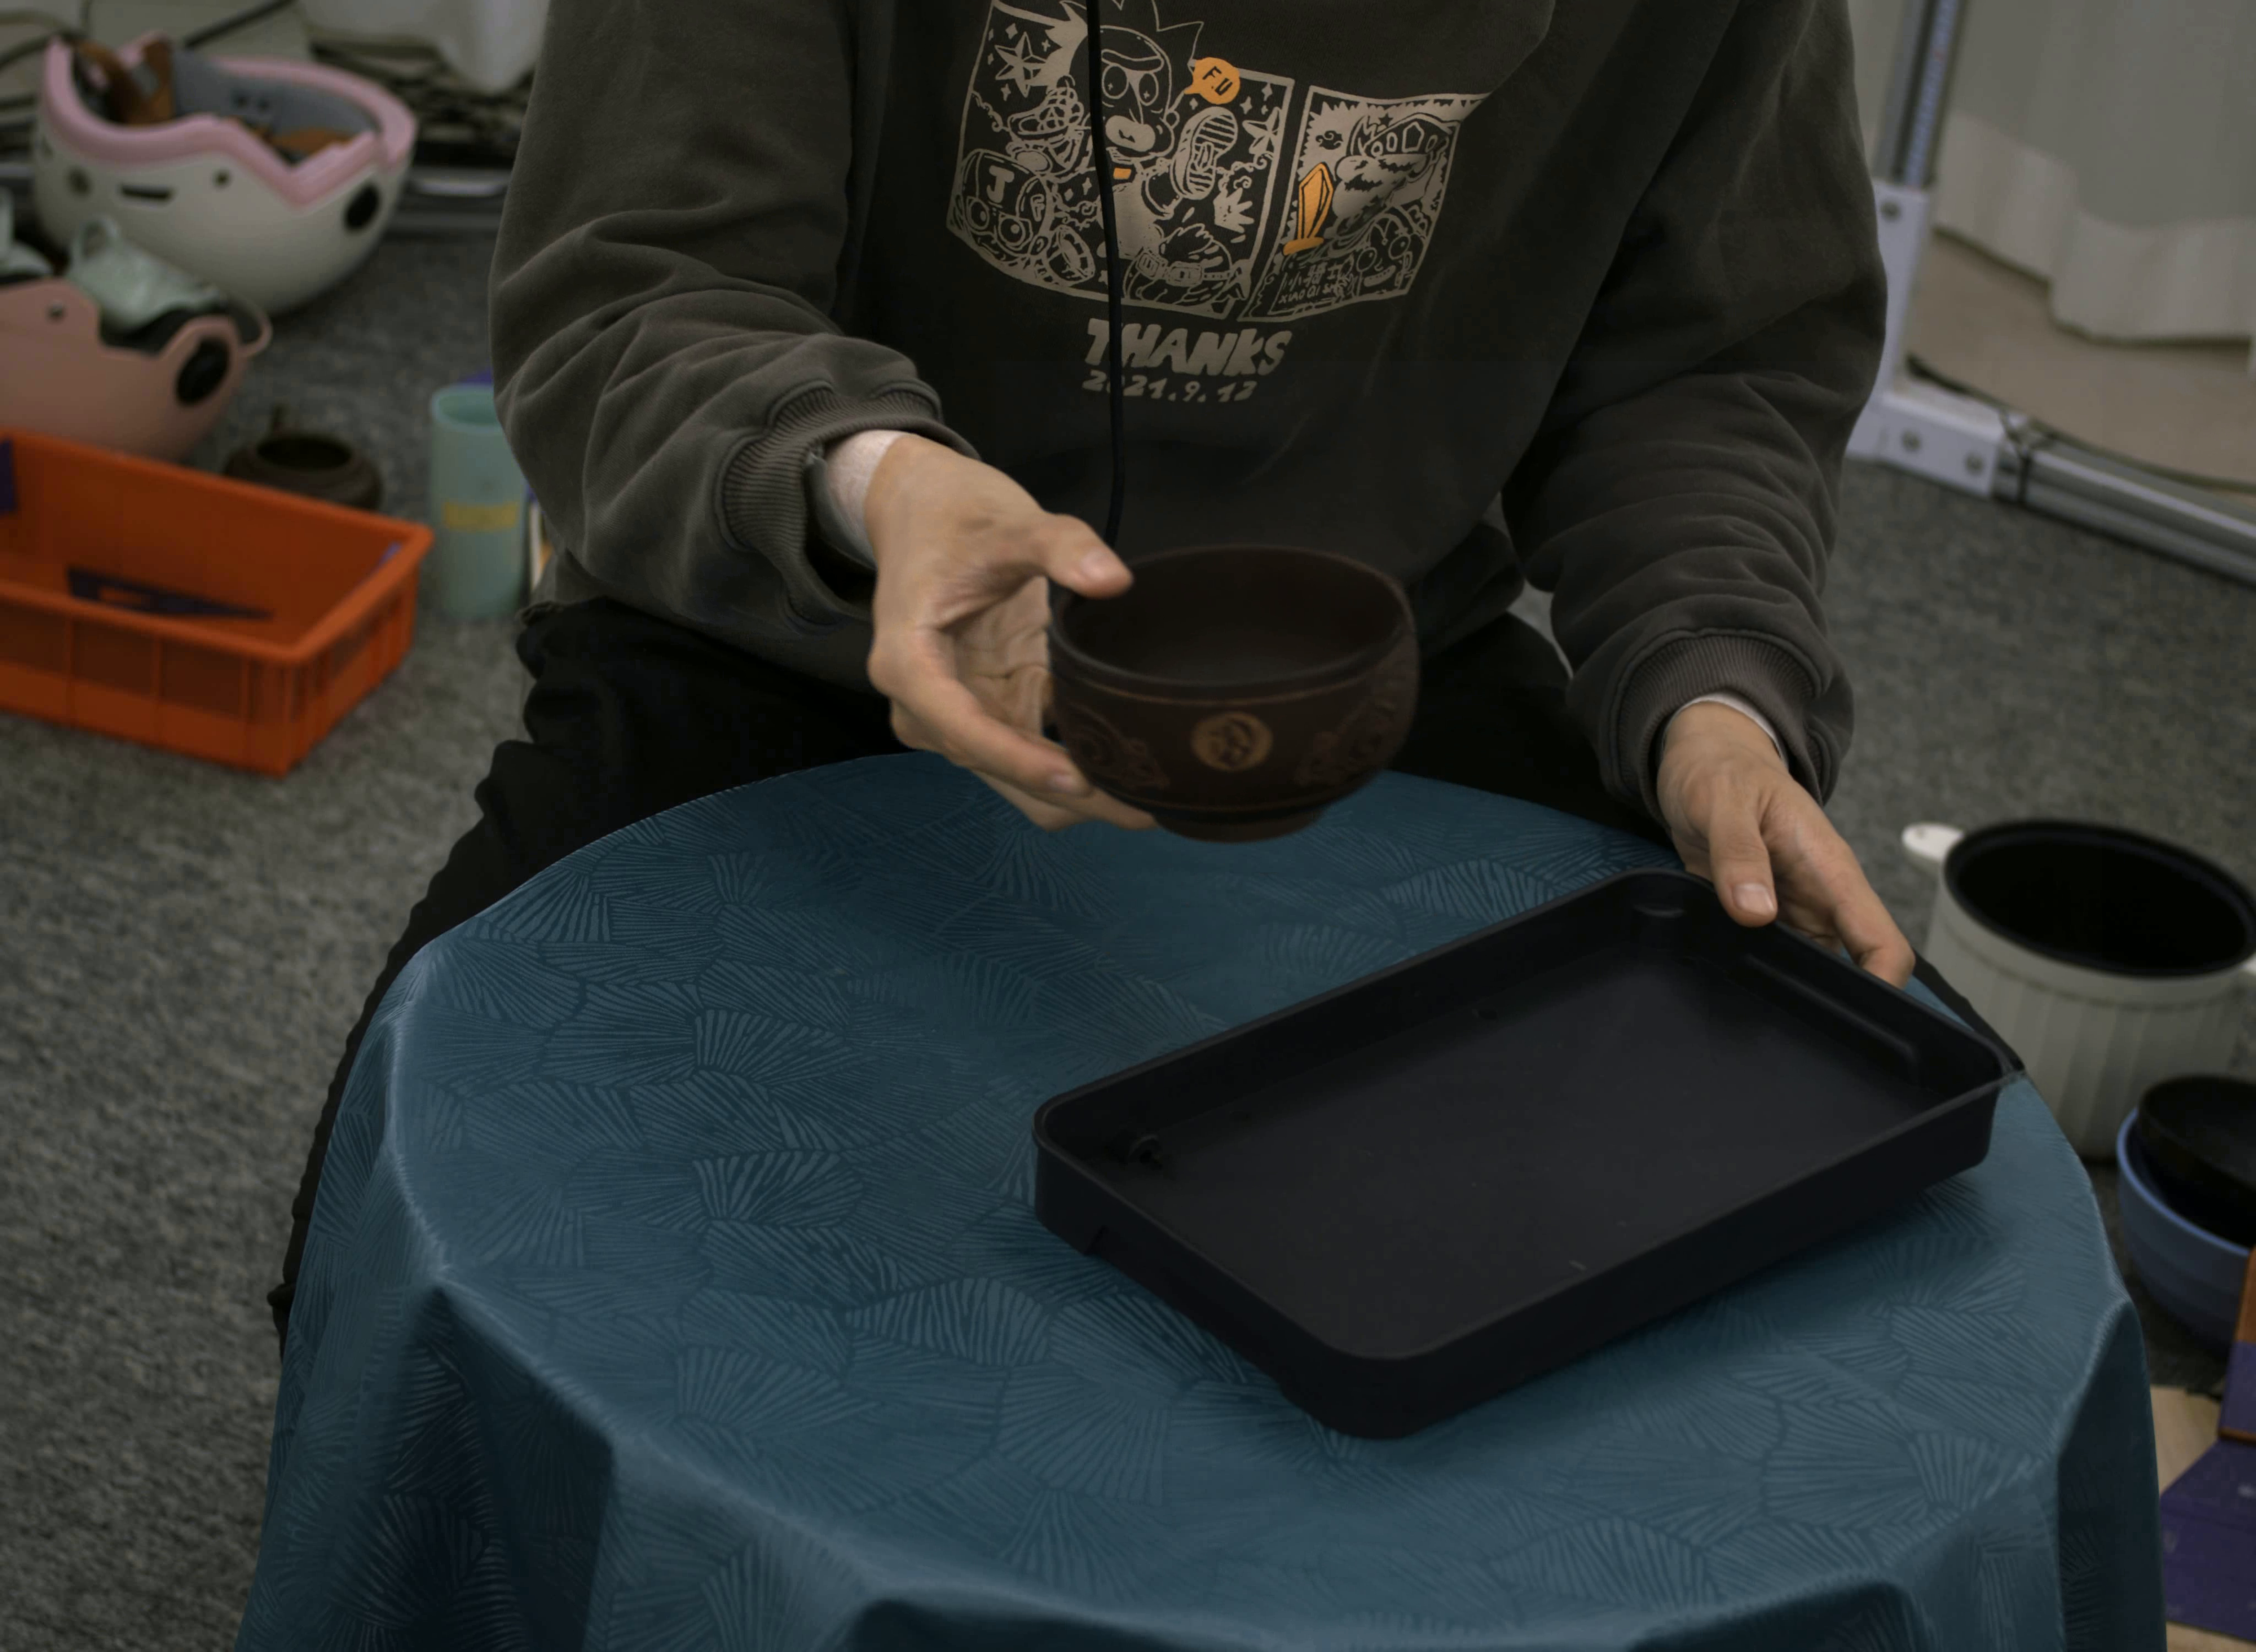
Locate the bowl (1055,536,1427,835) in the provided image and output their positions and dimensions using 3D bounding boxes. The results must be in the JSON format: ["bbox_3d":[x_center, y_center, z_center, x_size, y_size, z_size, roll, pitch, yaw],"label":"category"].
[{"bbox_3d":[0.036,-0.040,1.688,0.118,0.069,0.118,-3,23,1],"label":"bowl"}]

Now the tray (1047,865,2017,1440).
[{"bbox_3d":[0.140,0.105,1.817,0.316,0.037,0.186,-21,37,-38],"label":"tray"}]
